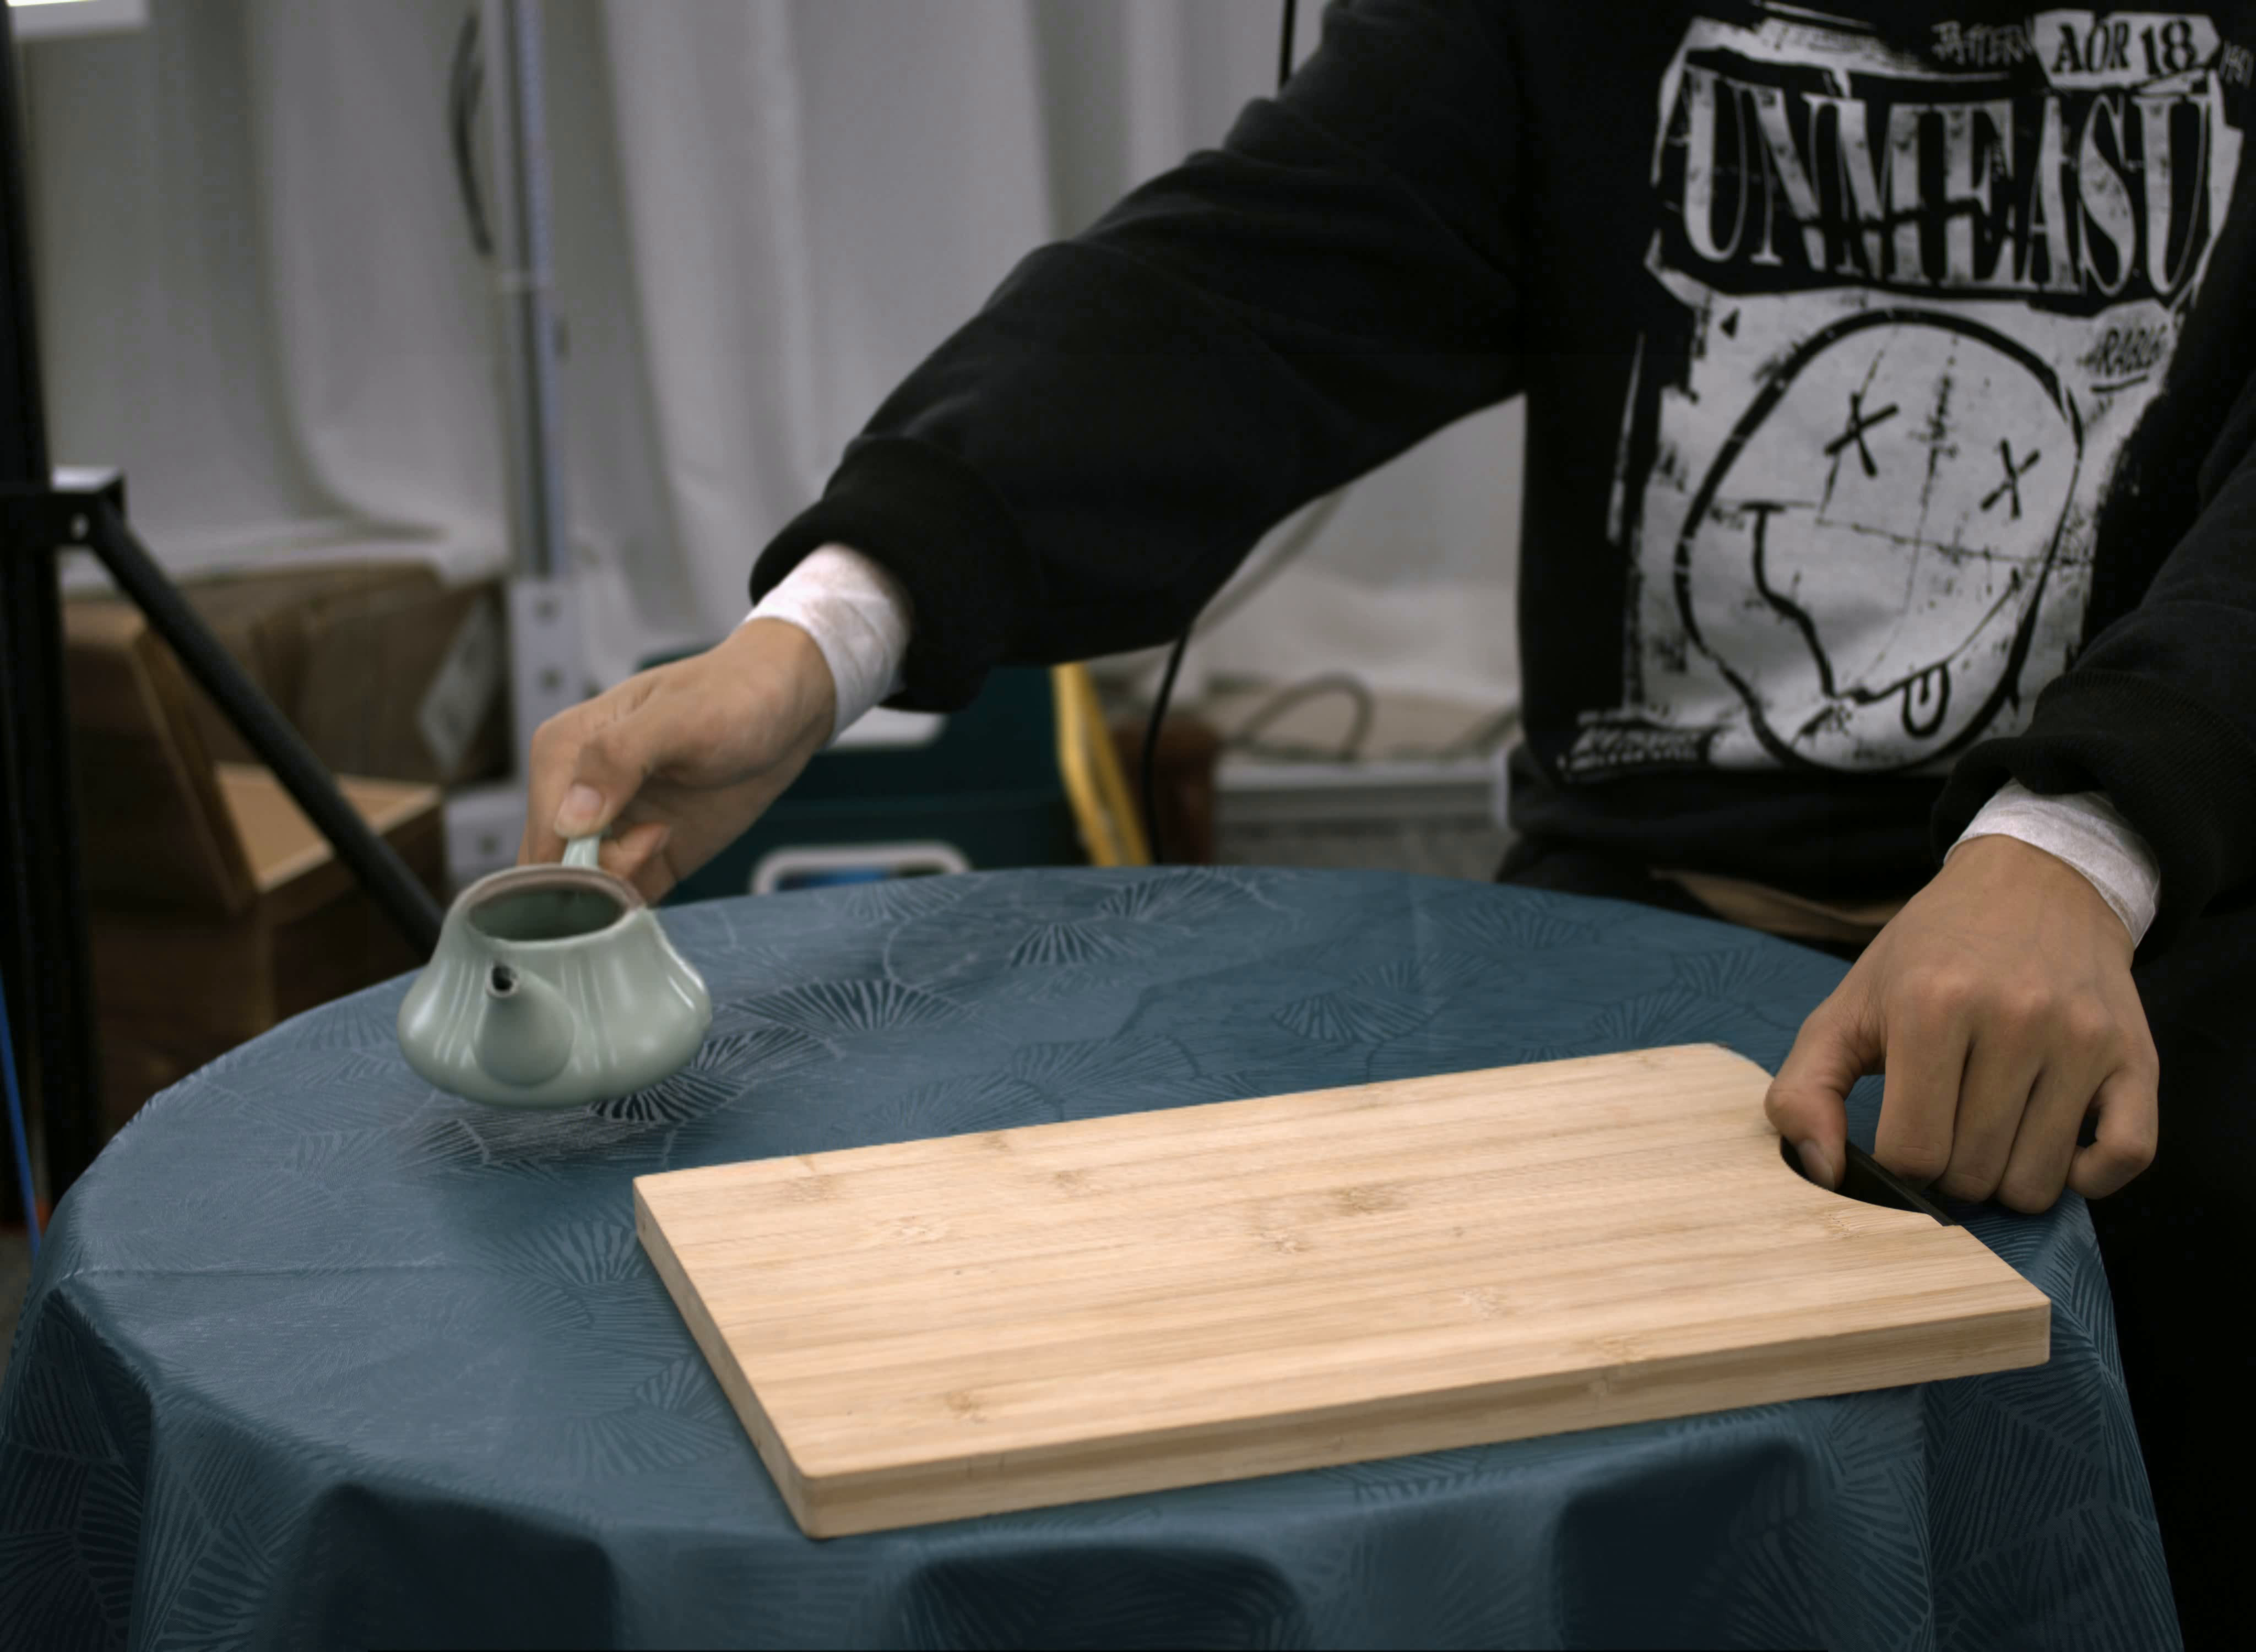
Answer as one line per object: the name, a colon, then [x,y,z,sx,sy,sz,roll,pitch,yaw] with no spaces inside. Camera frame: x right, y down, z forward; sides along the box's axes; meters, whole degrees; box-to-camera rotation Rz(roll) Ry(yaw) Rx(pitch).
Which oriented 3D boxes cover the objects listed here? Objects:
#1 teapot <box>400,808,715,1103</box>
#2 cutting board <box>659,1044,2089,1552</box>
teapot: [-0.175,0.044,1.634,0.096,0.061,0.137,-1,23,7]
cutting board: [0.057,0.123,1.464,0.343,0.023,0.254,-7,16,-14]
